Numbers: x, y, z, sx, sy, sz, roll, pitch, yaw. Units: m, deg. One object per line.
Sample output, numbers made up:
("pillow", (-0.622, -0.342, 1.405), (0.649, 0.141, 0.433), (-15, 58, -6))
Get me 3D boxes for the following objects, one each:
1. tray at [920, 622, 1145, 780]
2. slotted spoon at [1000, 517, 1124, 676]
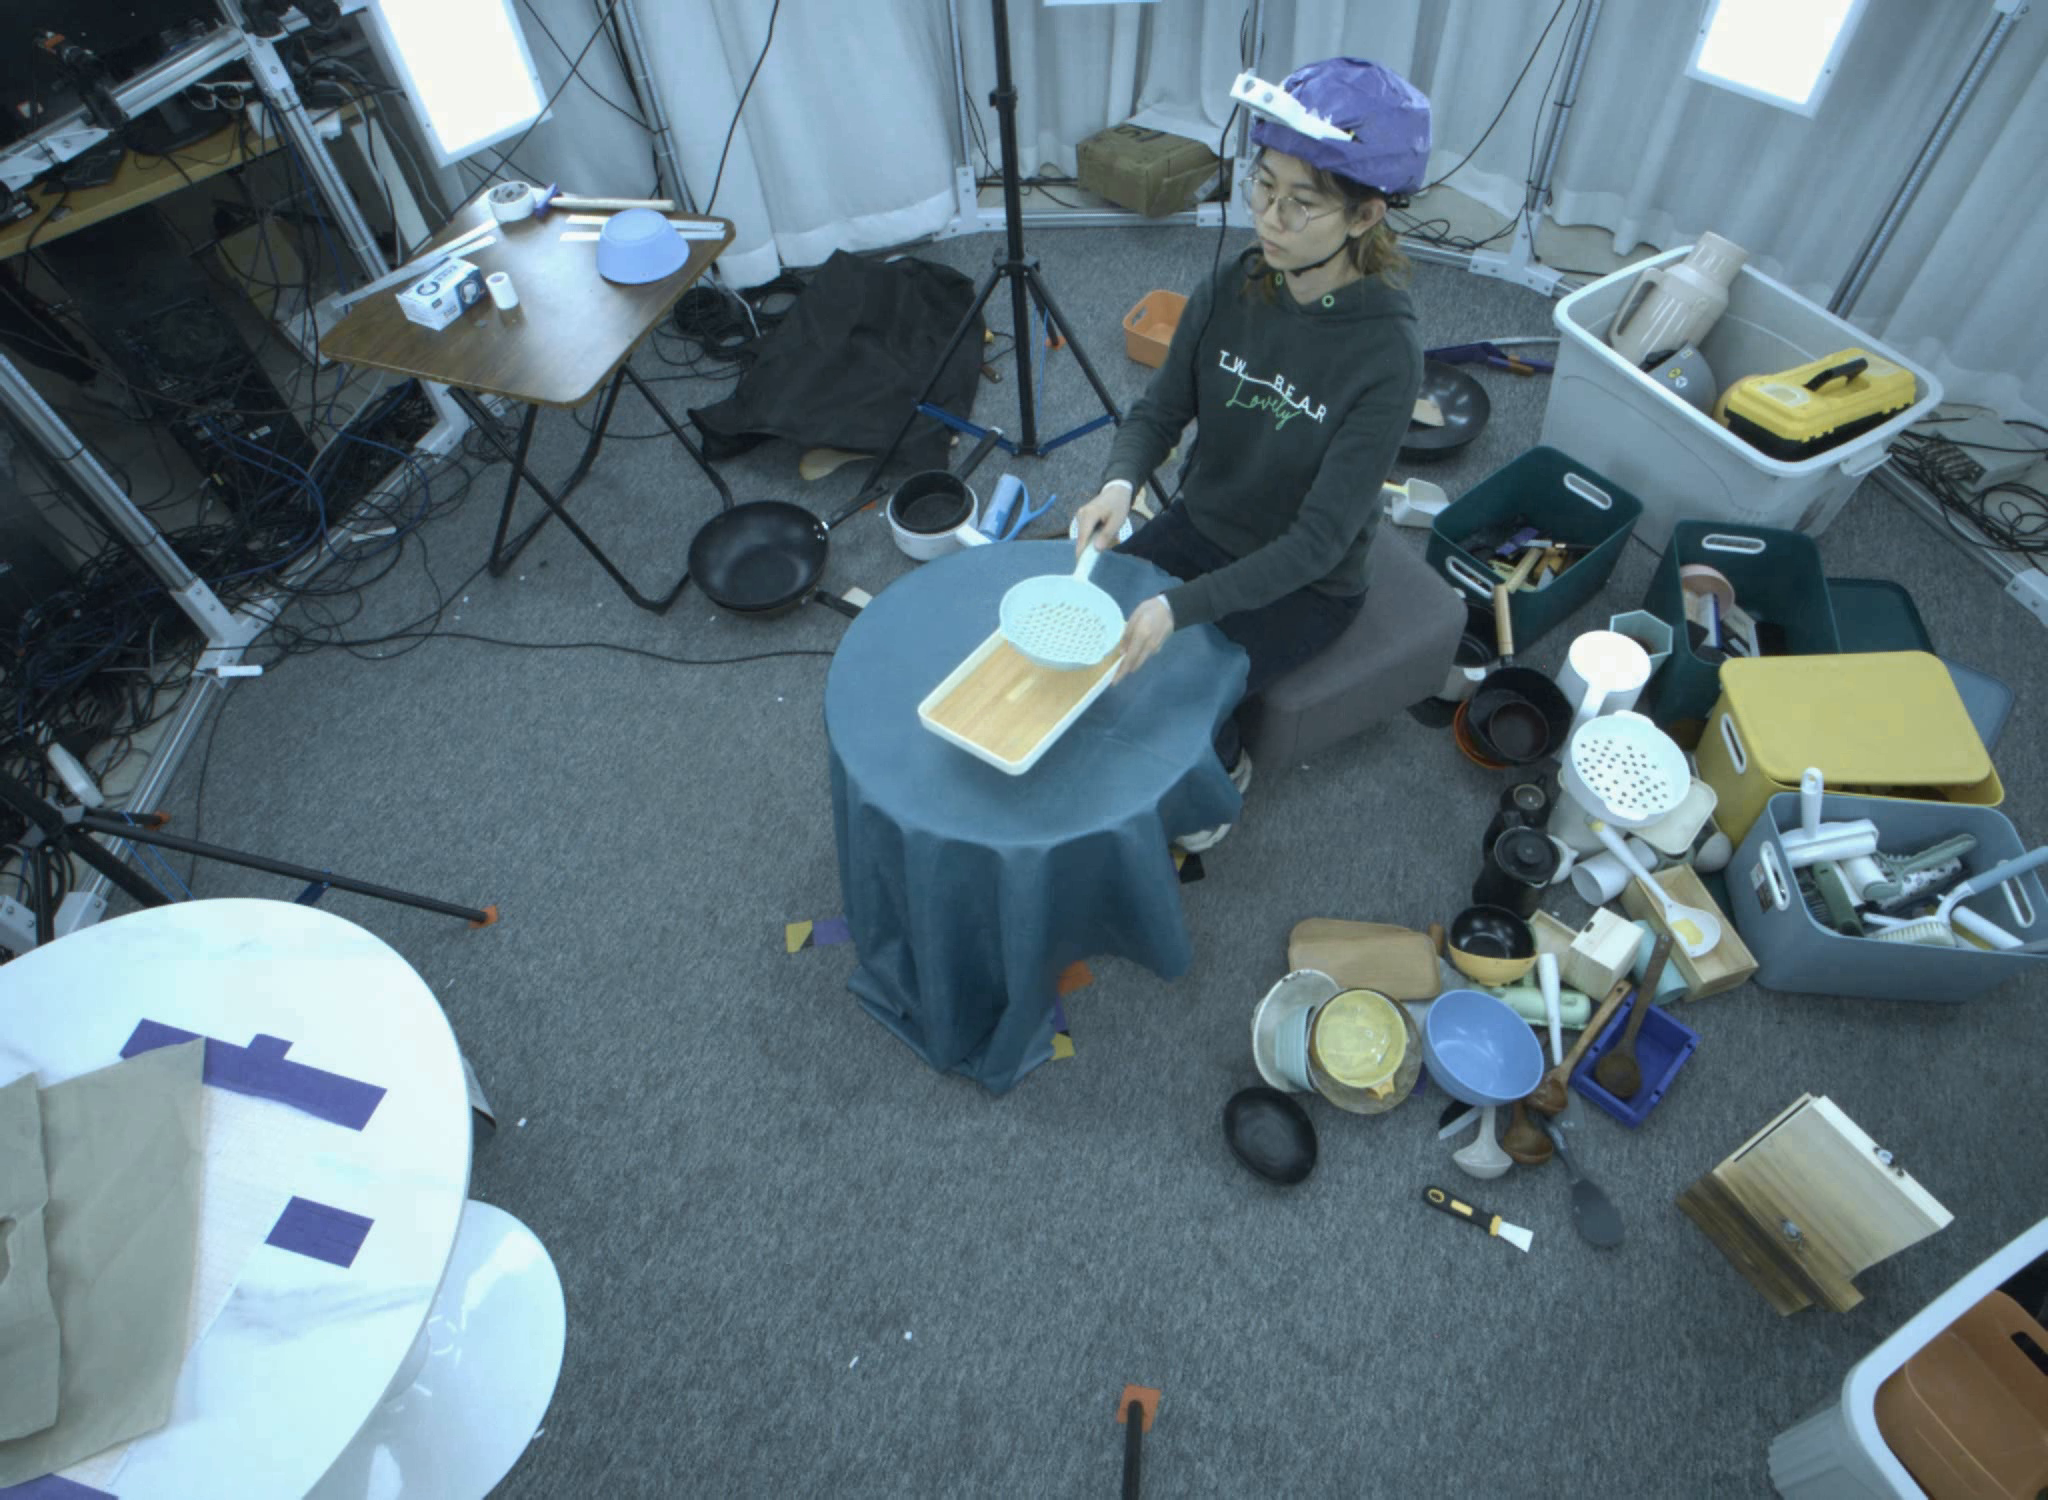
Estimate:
("tray", (0.015, -0.097, 1.743), (0.188, 0.028, 0.302), (29, 61, 27))
("slotted spoon", (0.079, -0.233, 1.732), (0.169, 0.076, 0.358), (19, 57, 4))
